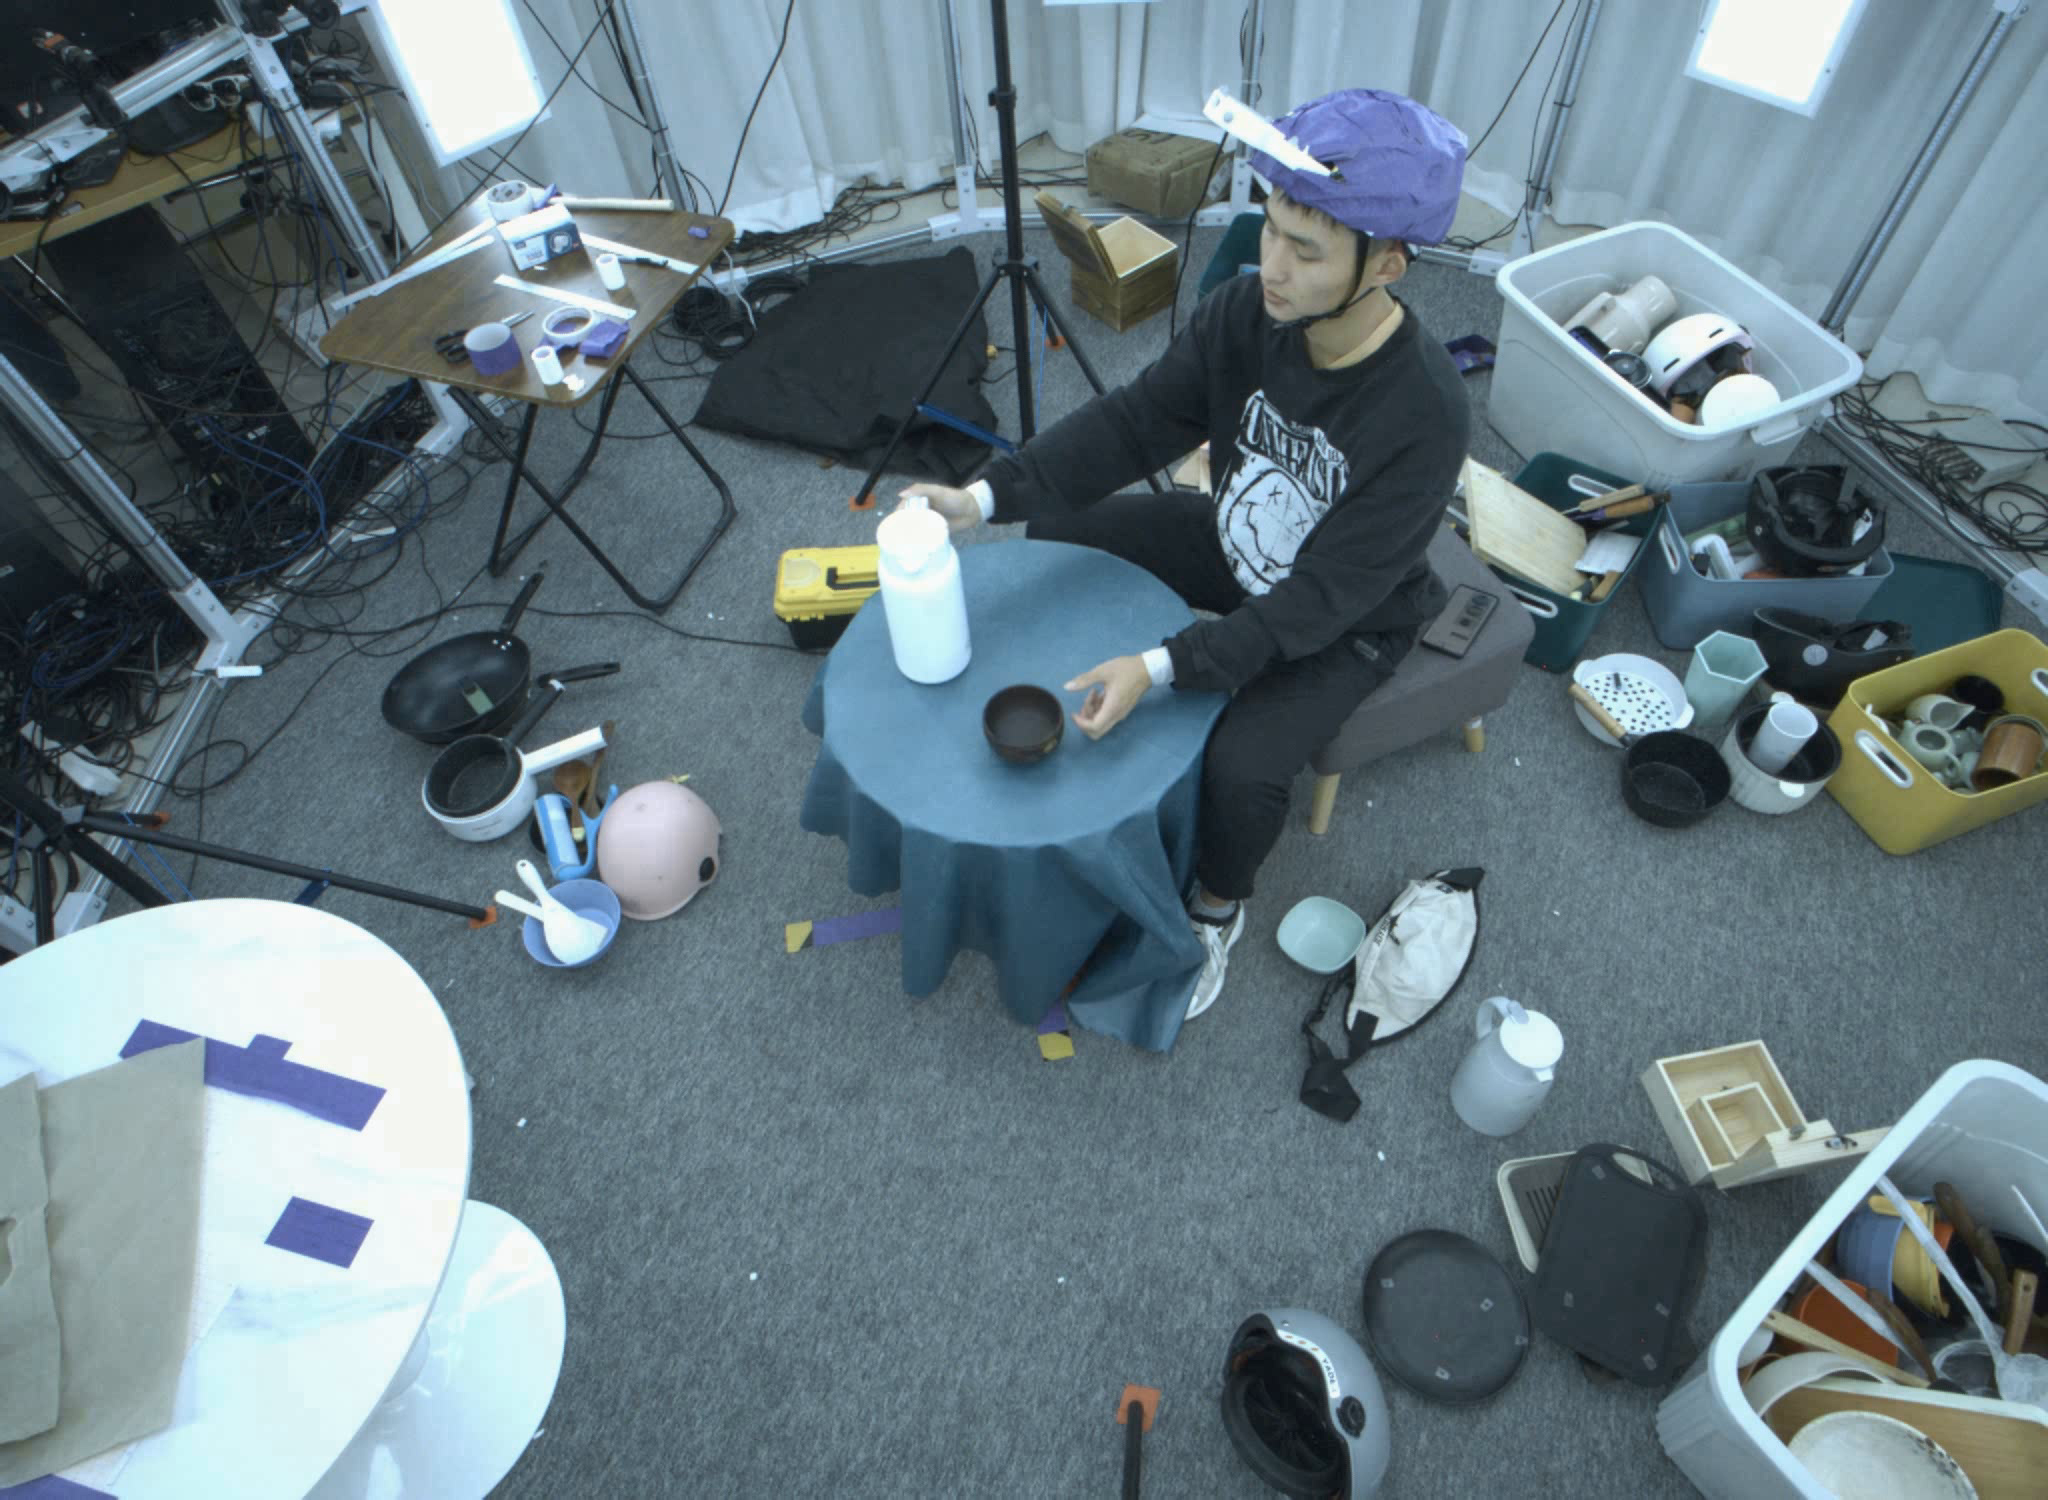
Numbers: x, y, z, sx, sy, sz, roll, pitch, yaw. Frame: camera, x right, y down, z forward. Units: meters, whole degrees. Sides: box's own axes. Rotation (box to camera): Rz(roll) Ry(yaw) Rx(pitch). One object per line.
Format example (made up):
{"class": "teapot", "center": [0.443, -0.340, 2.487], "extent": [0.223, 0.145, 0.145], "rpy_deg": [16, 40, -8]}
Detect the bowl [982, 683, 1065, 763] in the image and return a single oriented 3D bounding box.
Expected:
{"class": "bowl", "center": [0.000, -0.031, 1.759], "extent": [0.118, 0.070, 0.117], "rpy_deg": [-1, 53, 2]}

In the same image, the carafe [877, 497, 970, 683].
{"class": "carafe", "center": [-0.150, -0.236, 1.792], "extent": [0.124, 0.272, 0.171], "rpy_deg": [-5, 54, 2]}
